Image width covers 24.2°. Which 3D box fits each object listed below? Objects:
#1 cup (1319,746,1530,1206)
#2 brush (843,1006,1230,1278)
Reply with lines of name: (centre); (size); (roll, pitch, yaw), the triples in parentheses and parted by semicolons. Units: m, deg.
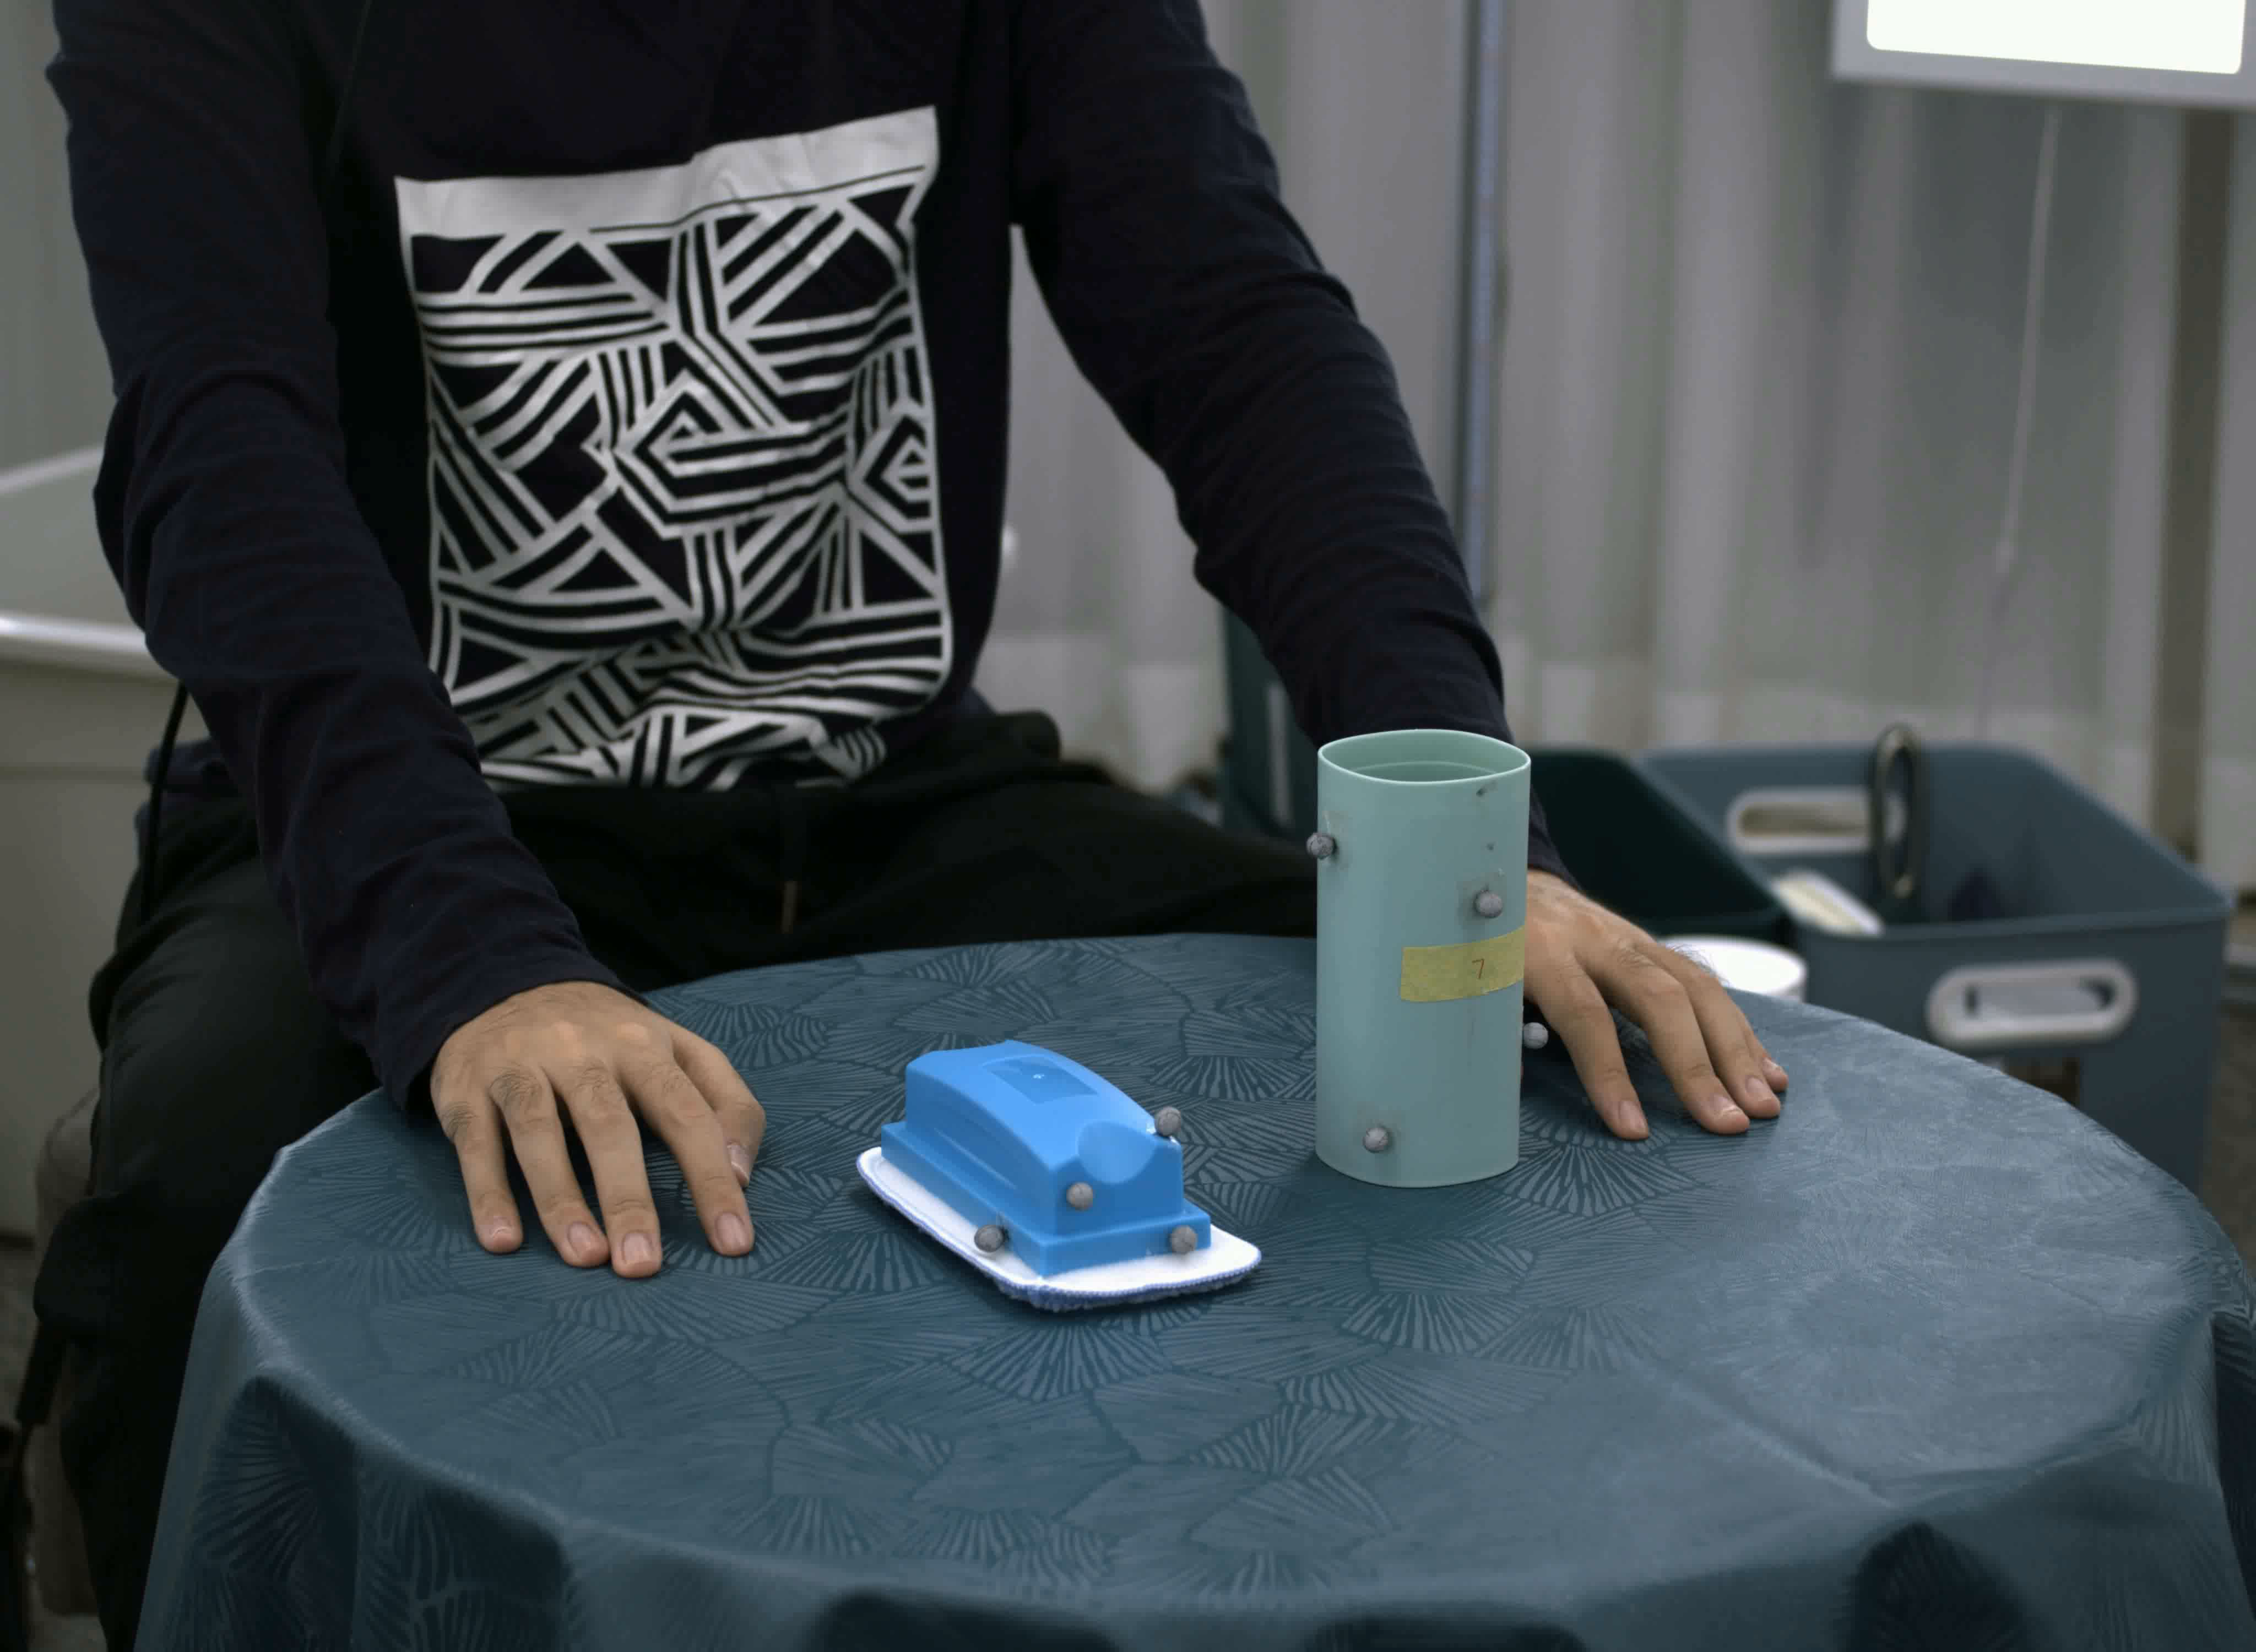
cup: (0.091, 0.046, 1.645); (0.066, 0.133, 0.066); (0, 16, 1)
brush: (-0.027, 0.092, 1.583); (0.084, 0.056, 0.142); (-3, 18, -24)
